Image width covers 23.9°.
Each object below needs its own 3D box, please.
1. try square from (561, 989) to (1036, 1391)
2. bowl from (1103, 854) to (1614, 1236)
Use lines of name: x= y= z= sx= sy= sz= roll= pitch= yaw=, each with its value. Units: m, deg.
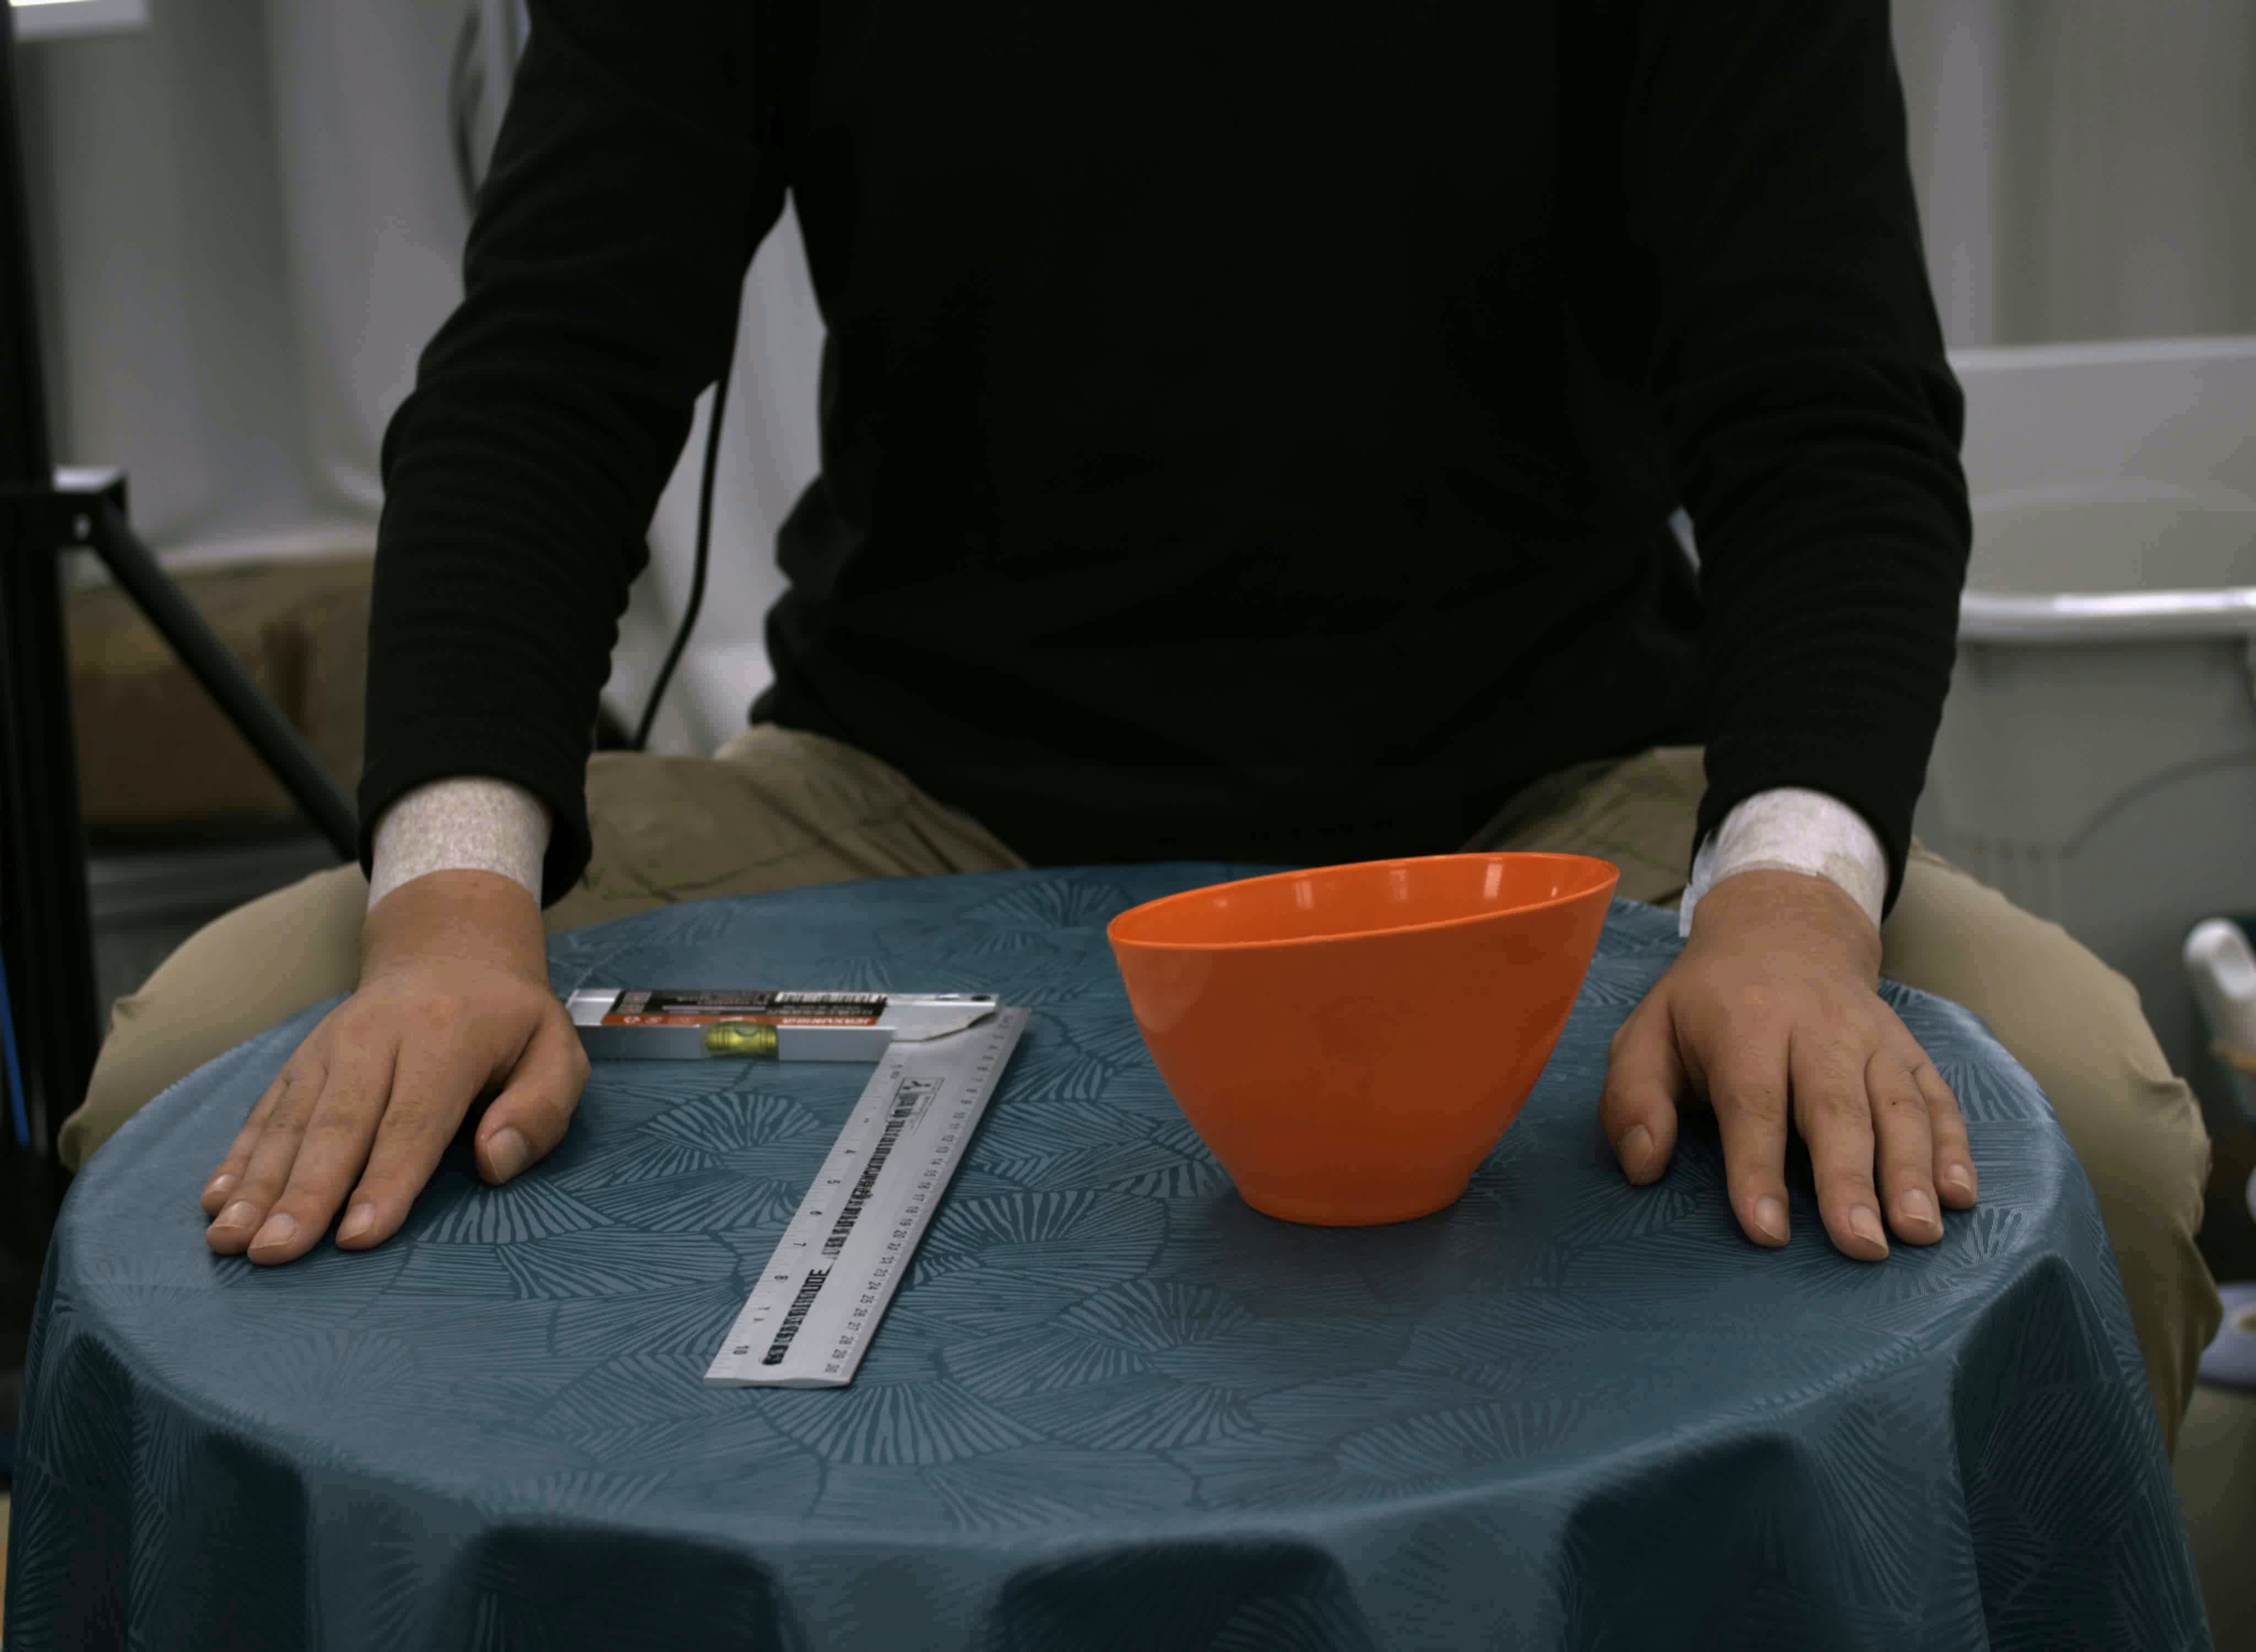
try square: x=-0.124 y=0.107 z=1.580 sx=0.153 sy=0.016 sz=0.312 roll=-5 pitch=16 yaw=10
bowl: x=0.068 y=0.062 z=1.527 sx=0.147 sy=0.104 sz=0.149 roll=-4 pitch=15 yaw=0
